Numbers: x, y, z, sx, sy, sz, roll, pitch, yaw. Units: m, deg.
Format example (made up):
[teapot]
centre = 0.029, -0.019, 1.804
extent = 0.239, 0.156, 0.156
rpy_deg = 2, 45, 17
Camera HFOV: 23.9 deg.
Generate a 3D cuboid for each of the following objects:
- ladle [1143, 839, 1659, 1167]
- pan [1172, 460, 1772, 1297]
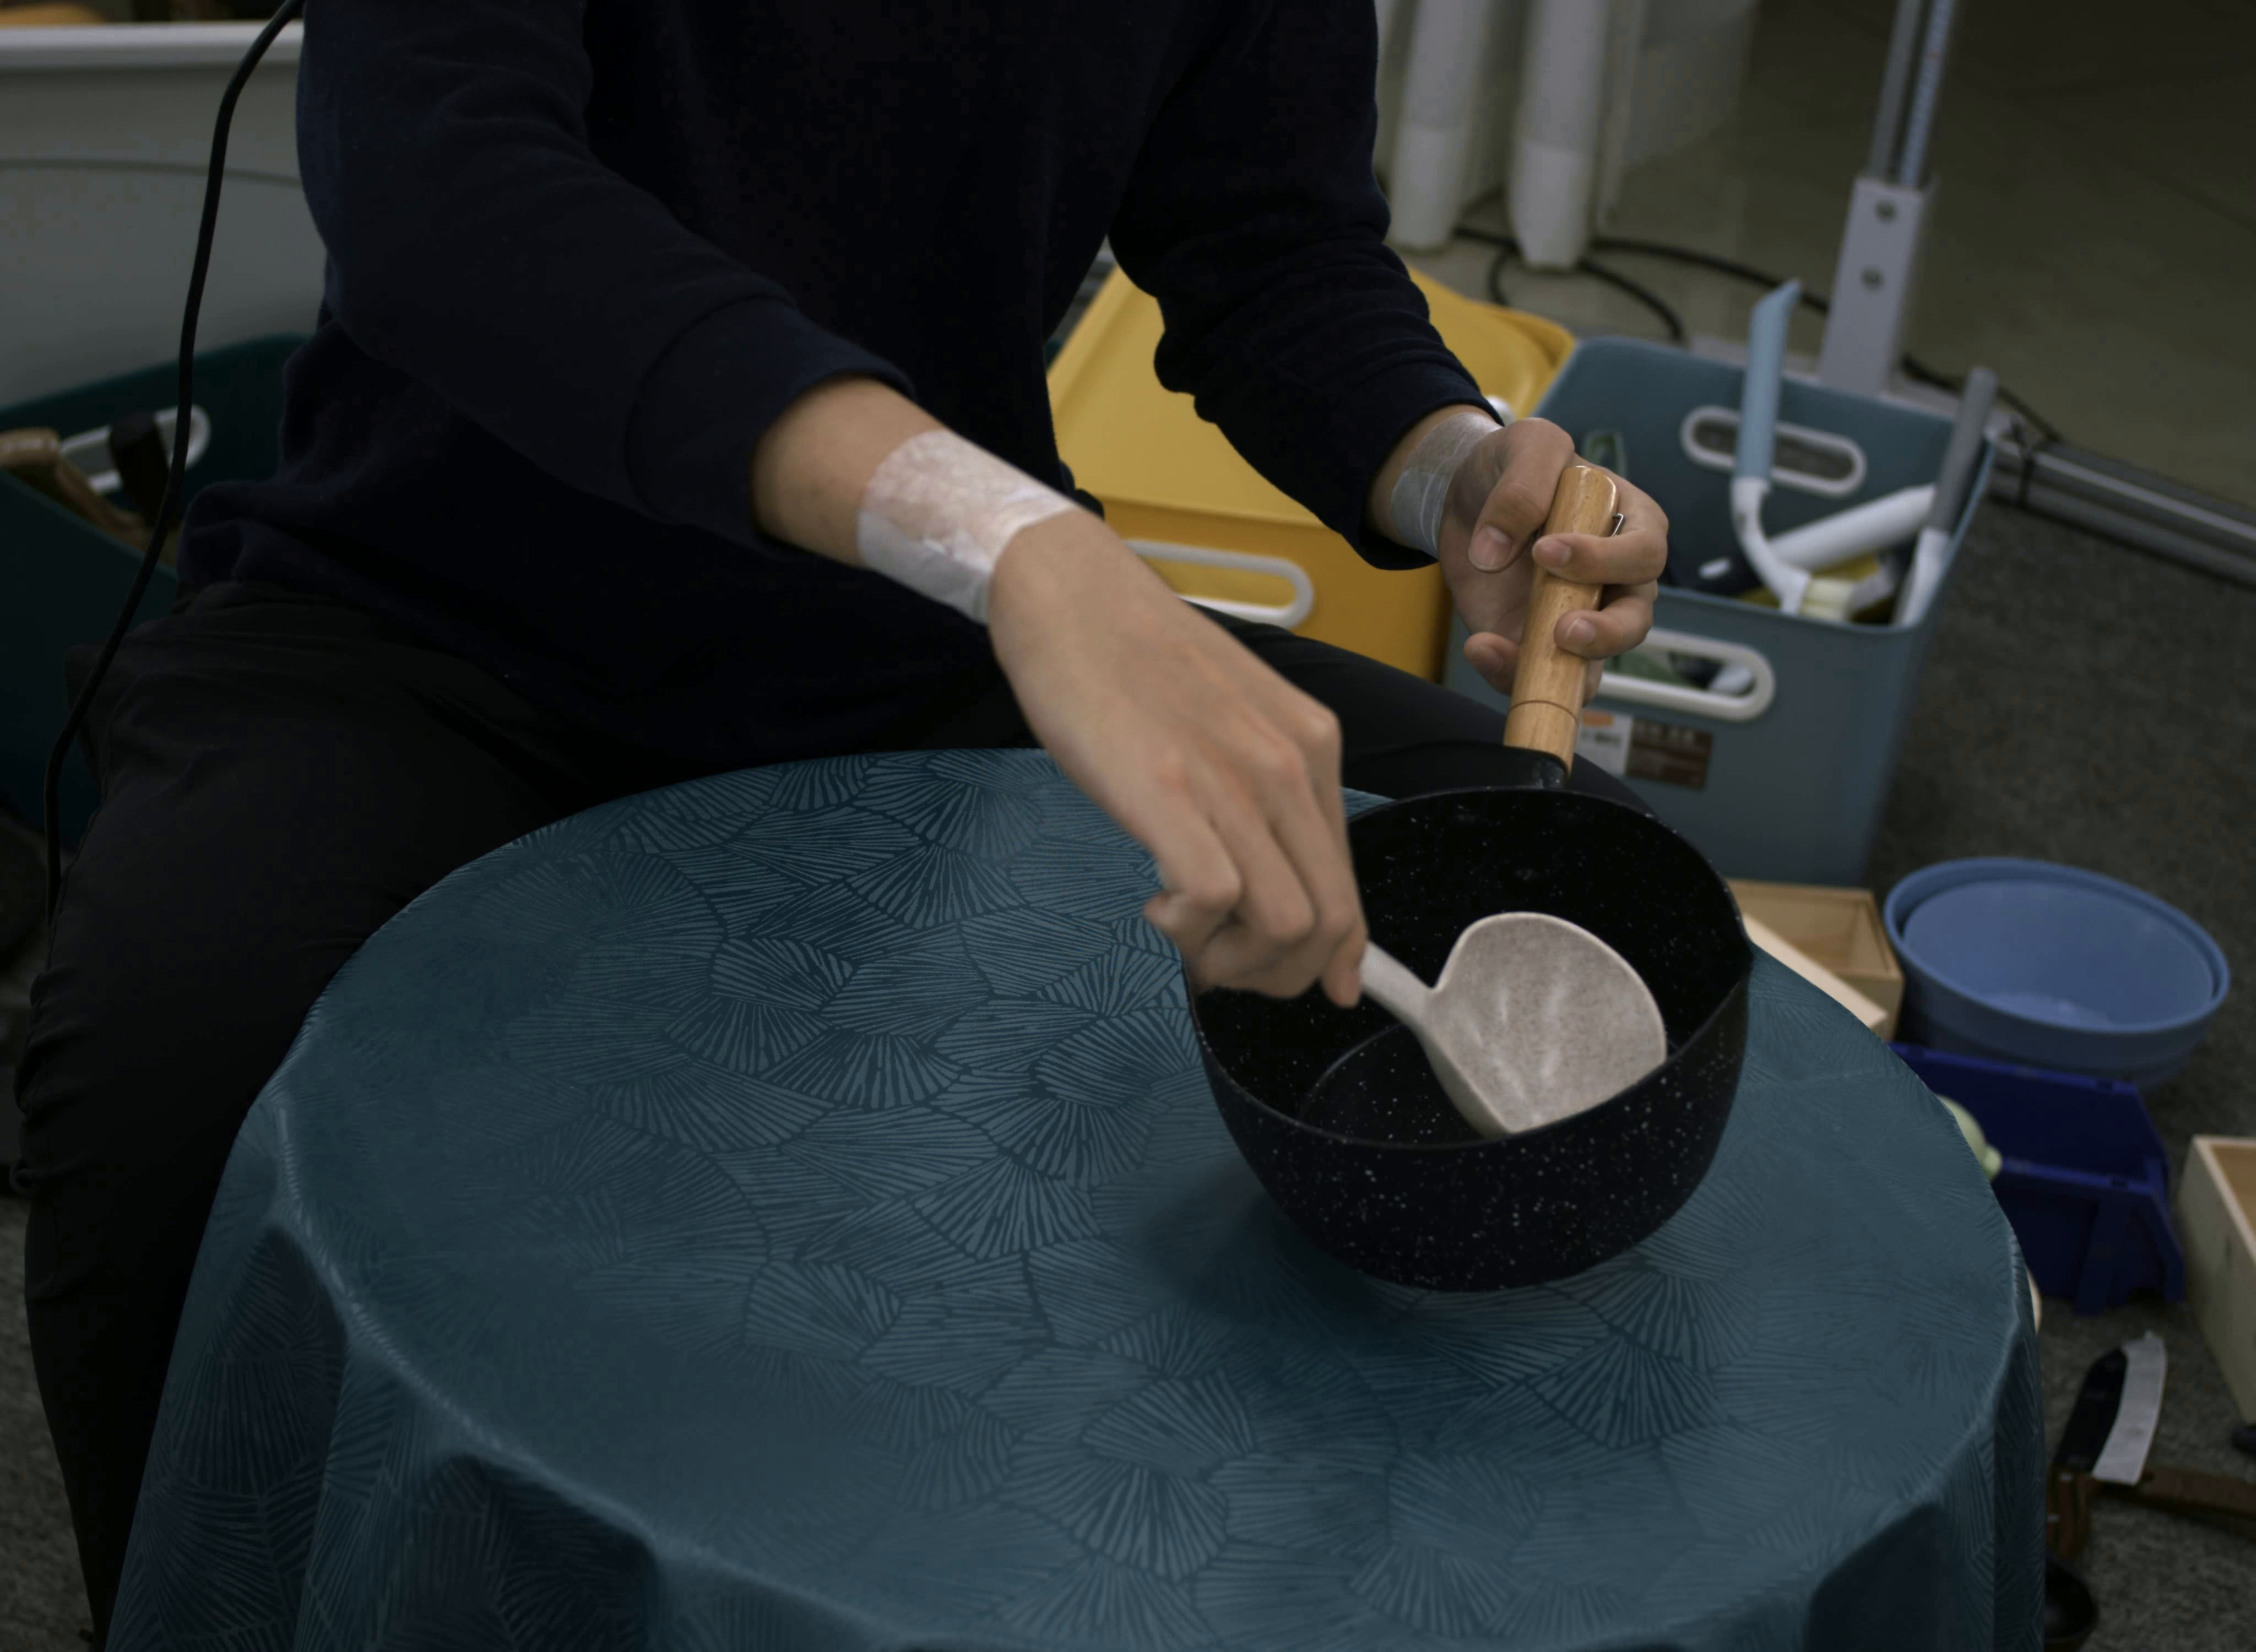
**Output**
[ladle]
centre = 0.089, 0.039, 1.627
extent = 0.069, 0.090, 0.272
rpy_deg = -17, -23, 19
[pan]
centre = 0.133, 0.016, 1.836
extent = 0.208, 0.107, 0.345
rpy_deg = -2, 40, 18
